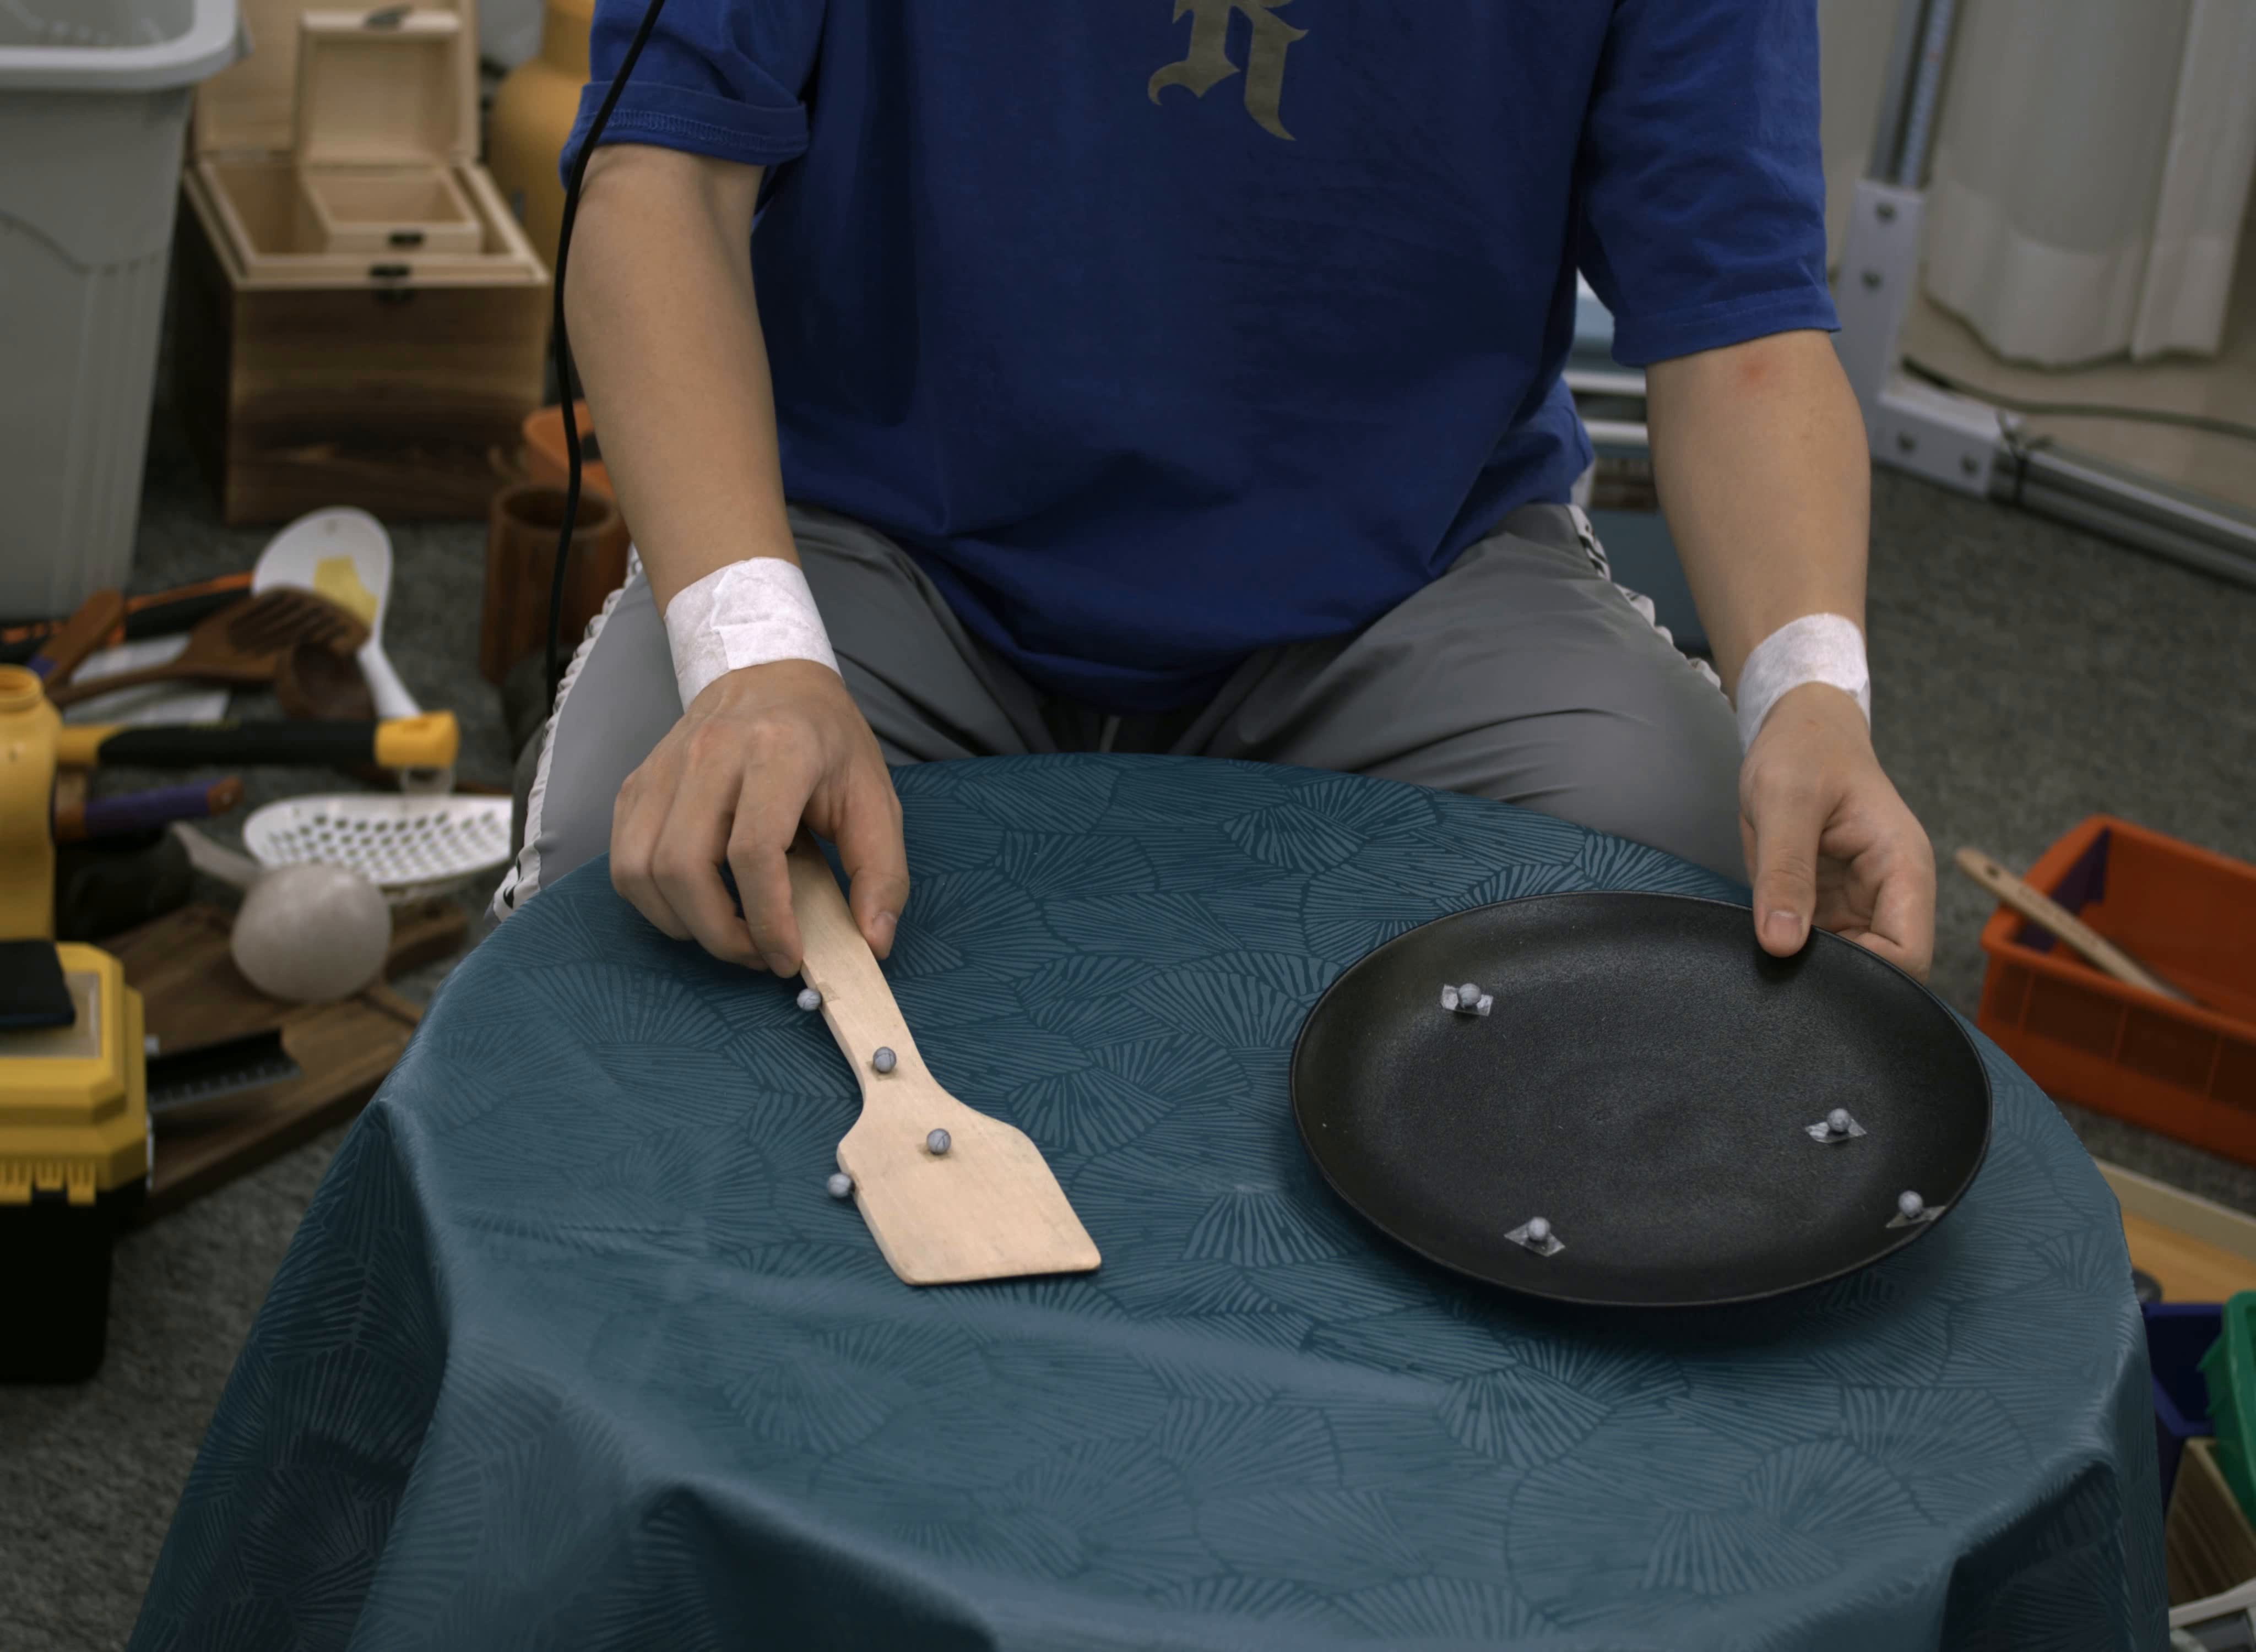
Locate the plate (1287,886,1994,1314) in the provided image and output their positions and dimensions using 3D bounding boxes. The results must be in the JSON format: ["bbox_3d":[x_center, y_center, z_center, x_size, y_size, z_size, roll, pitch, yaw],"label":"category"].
[{"bbox_3d":[0.176,0.098,1.838,0.244,0.023,0.246,-1,34,0],"label":"plate"}]

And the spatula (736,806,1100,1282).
[{"bbox_3d":[-0.088,0.072,1.860,0.072,0.010,0.296,-4,33,-20],"label":"spatula"}]
